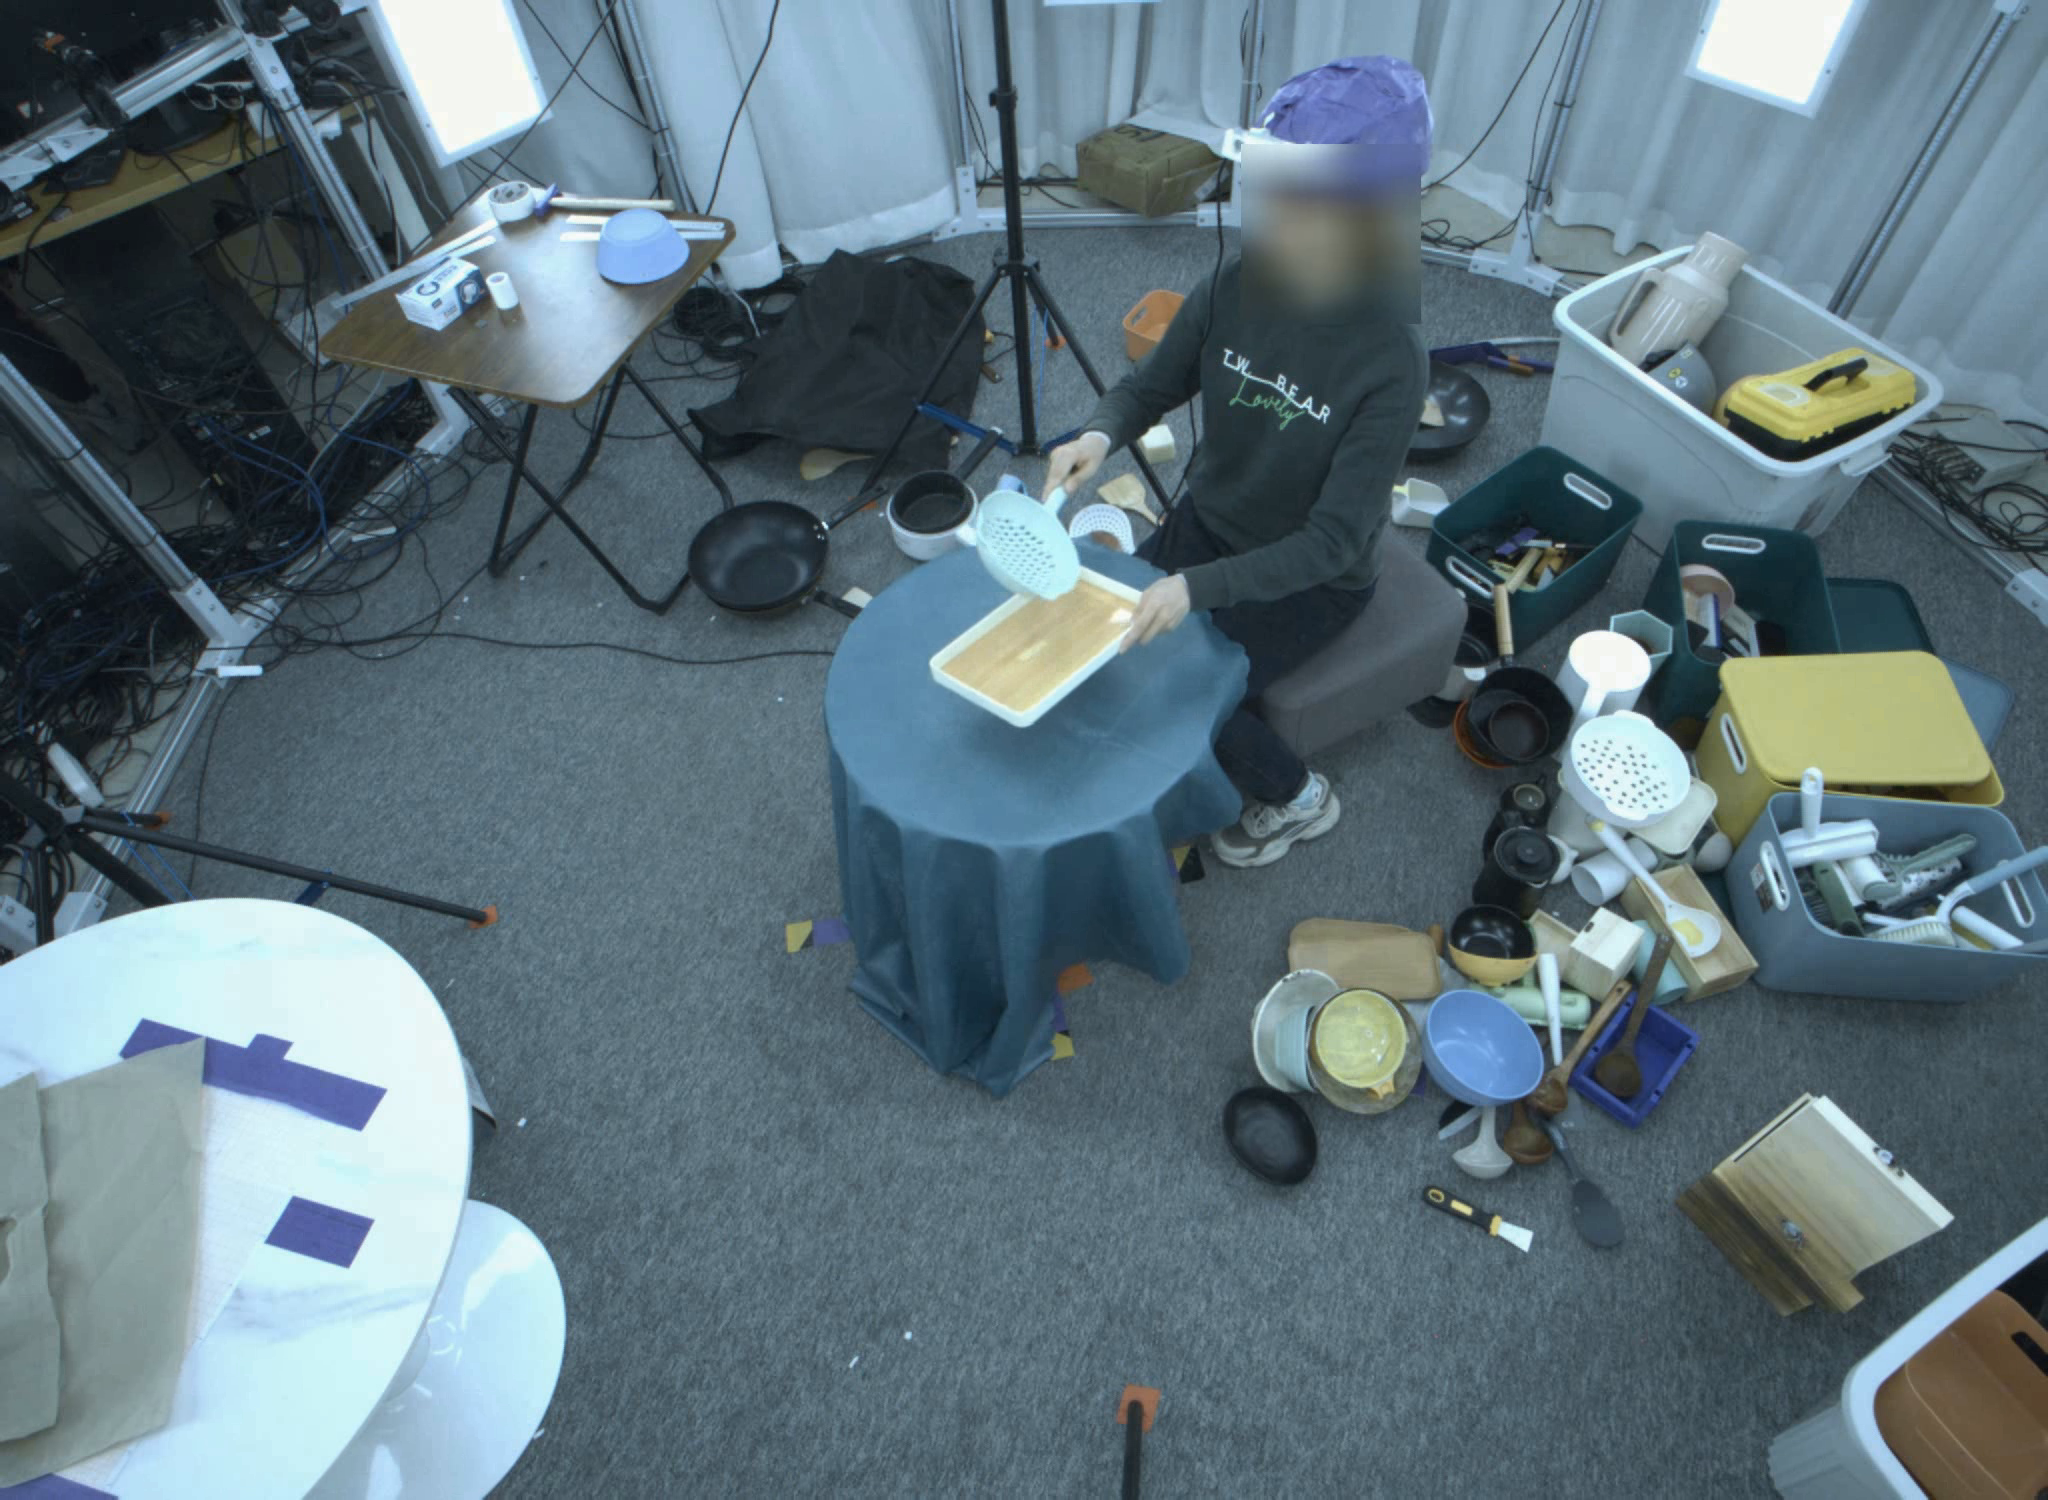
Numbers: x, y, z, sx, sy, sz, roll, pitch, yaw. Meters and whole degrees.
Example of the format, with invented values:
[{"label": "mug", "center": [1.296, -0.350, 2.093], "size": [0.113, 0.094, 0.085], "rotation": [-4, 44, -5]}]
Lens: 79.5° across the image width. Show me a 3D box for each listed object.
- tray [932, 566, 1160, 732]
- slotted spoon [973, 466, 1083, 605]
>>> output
[{"label": "tray", "center": [0.034, -0.150, 1.748], "size": [0.187, 0.028, 0.302], "rotation": [30, 56, 31]}, {"label": "slotted spoon", "center": [0.029, -0.329, 1.742], "size": [0.171, 0.074, 0.359], "rotation": [43, 49, -15]}]
